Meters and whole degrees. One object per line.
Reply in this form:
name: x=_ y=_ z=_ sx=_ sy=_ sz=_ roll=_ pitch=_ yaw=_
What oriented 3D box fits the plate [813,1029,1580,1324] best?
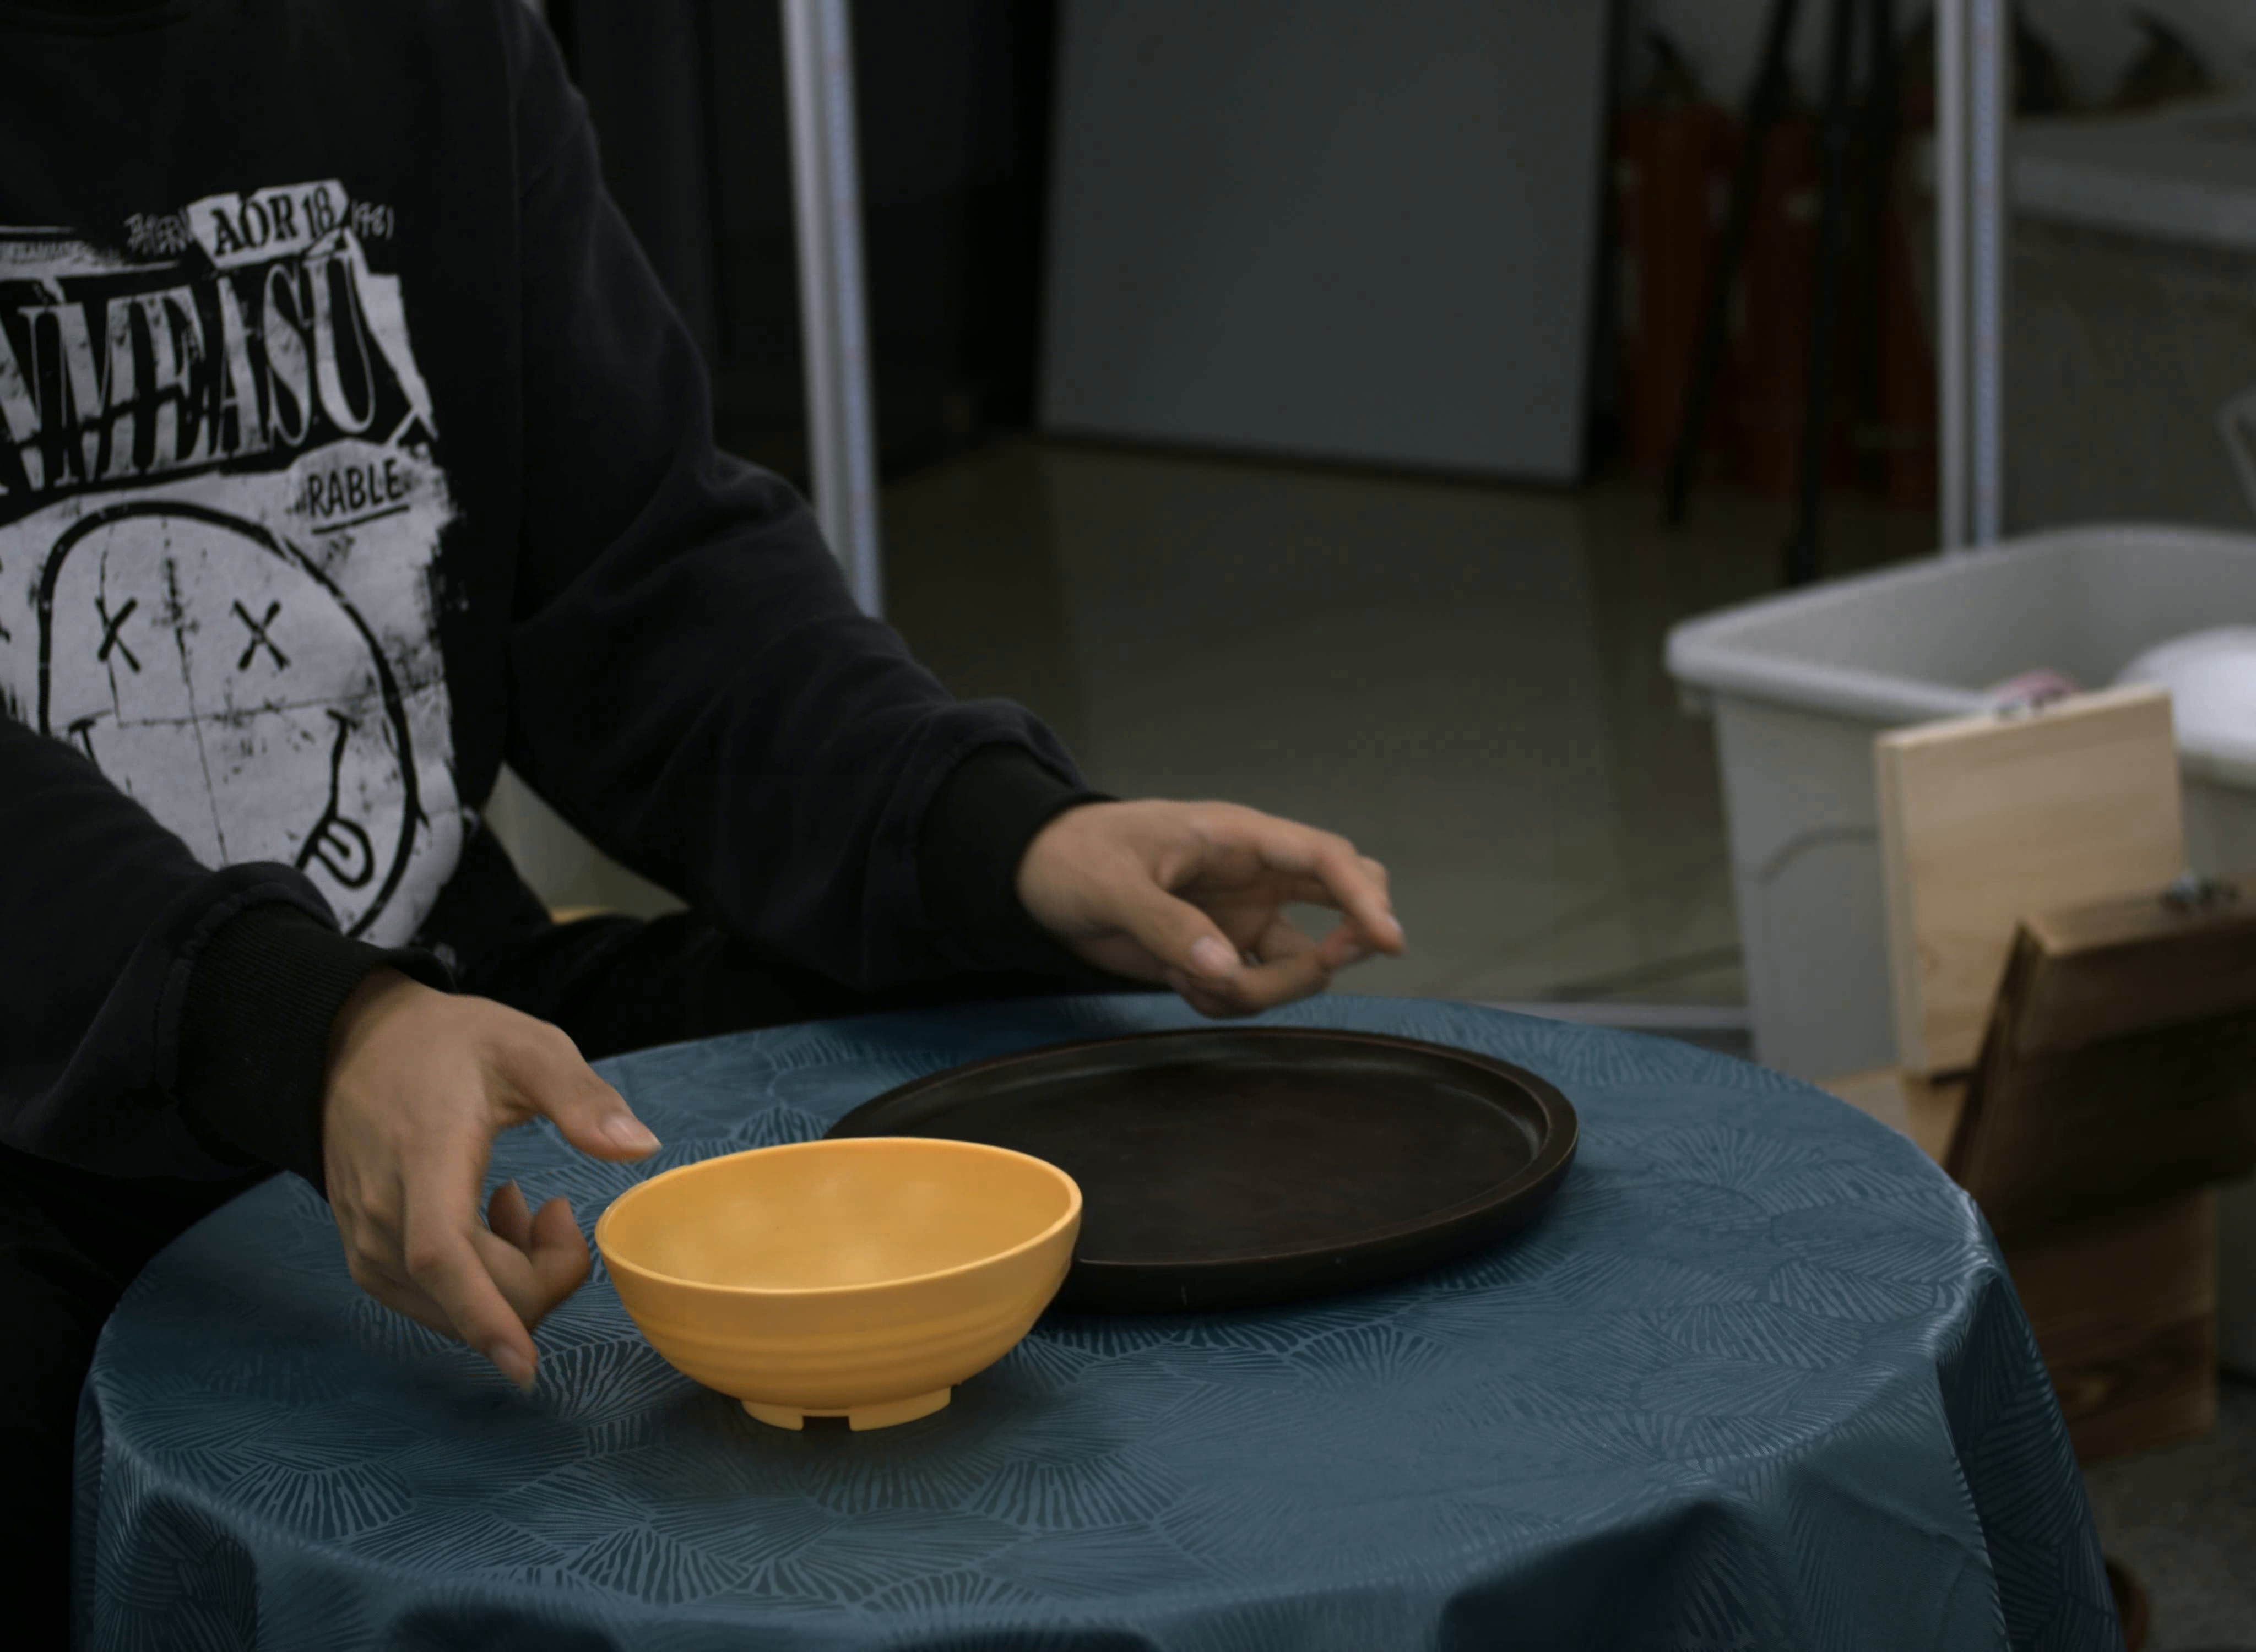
plate: x=0.023 y=0.112 z=1.755 sx=0.251 sy=0.029 sz=0.255 roll=-6 pitch=14 yaw=0

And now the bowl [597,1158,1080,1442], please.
bowl: x=-0.083 y=0.143 z=1.591 sx=0.143 sy=0.061 sz=0.145 roll=-4 pitch=11 yaw=0
